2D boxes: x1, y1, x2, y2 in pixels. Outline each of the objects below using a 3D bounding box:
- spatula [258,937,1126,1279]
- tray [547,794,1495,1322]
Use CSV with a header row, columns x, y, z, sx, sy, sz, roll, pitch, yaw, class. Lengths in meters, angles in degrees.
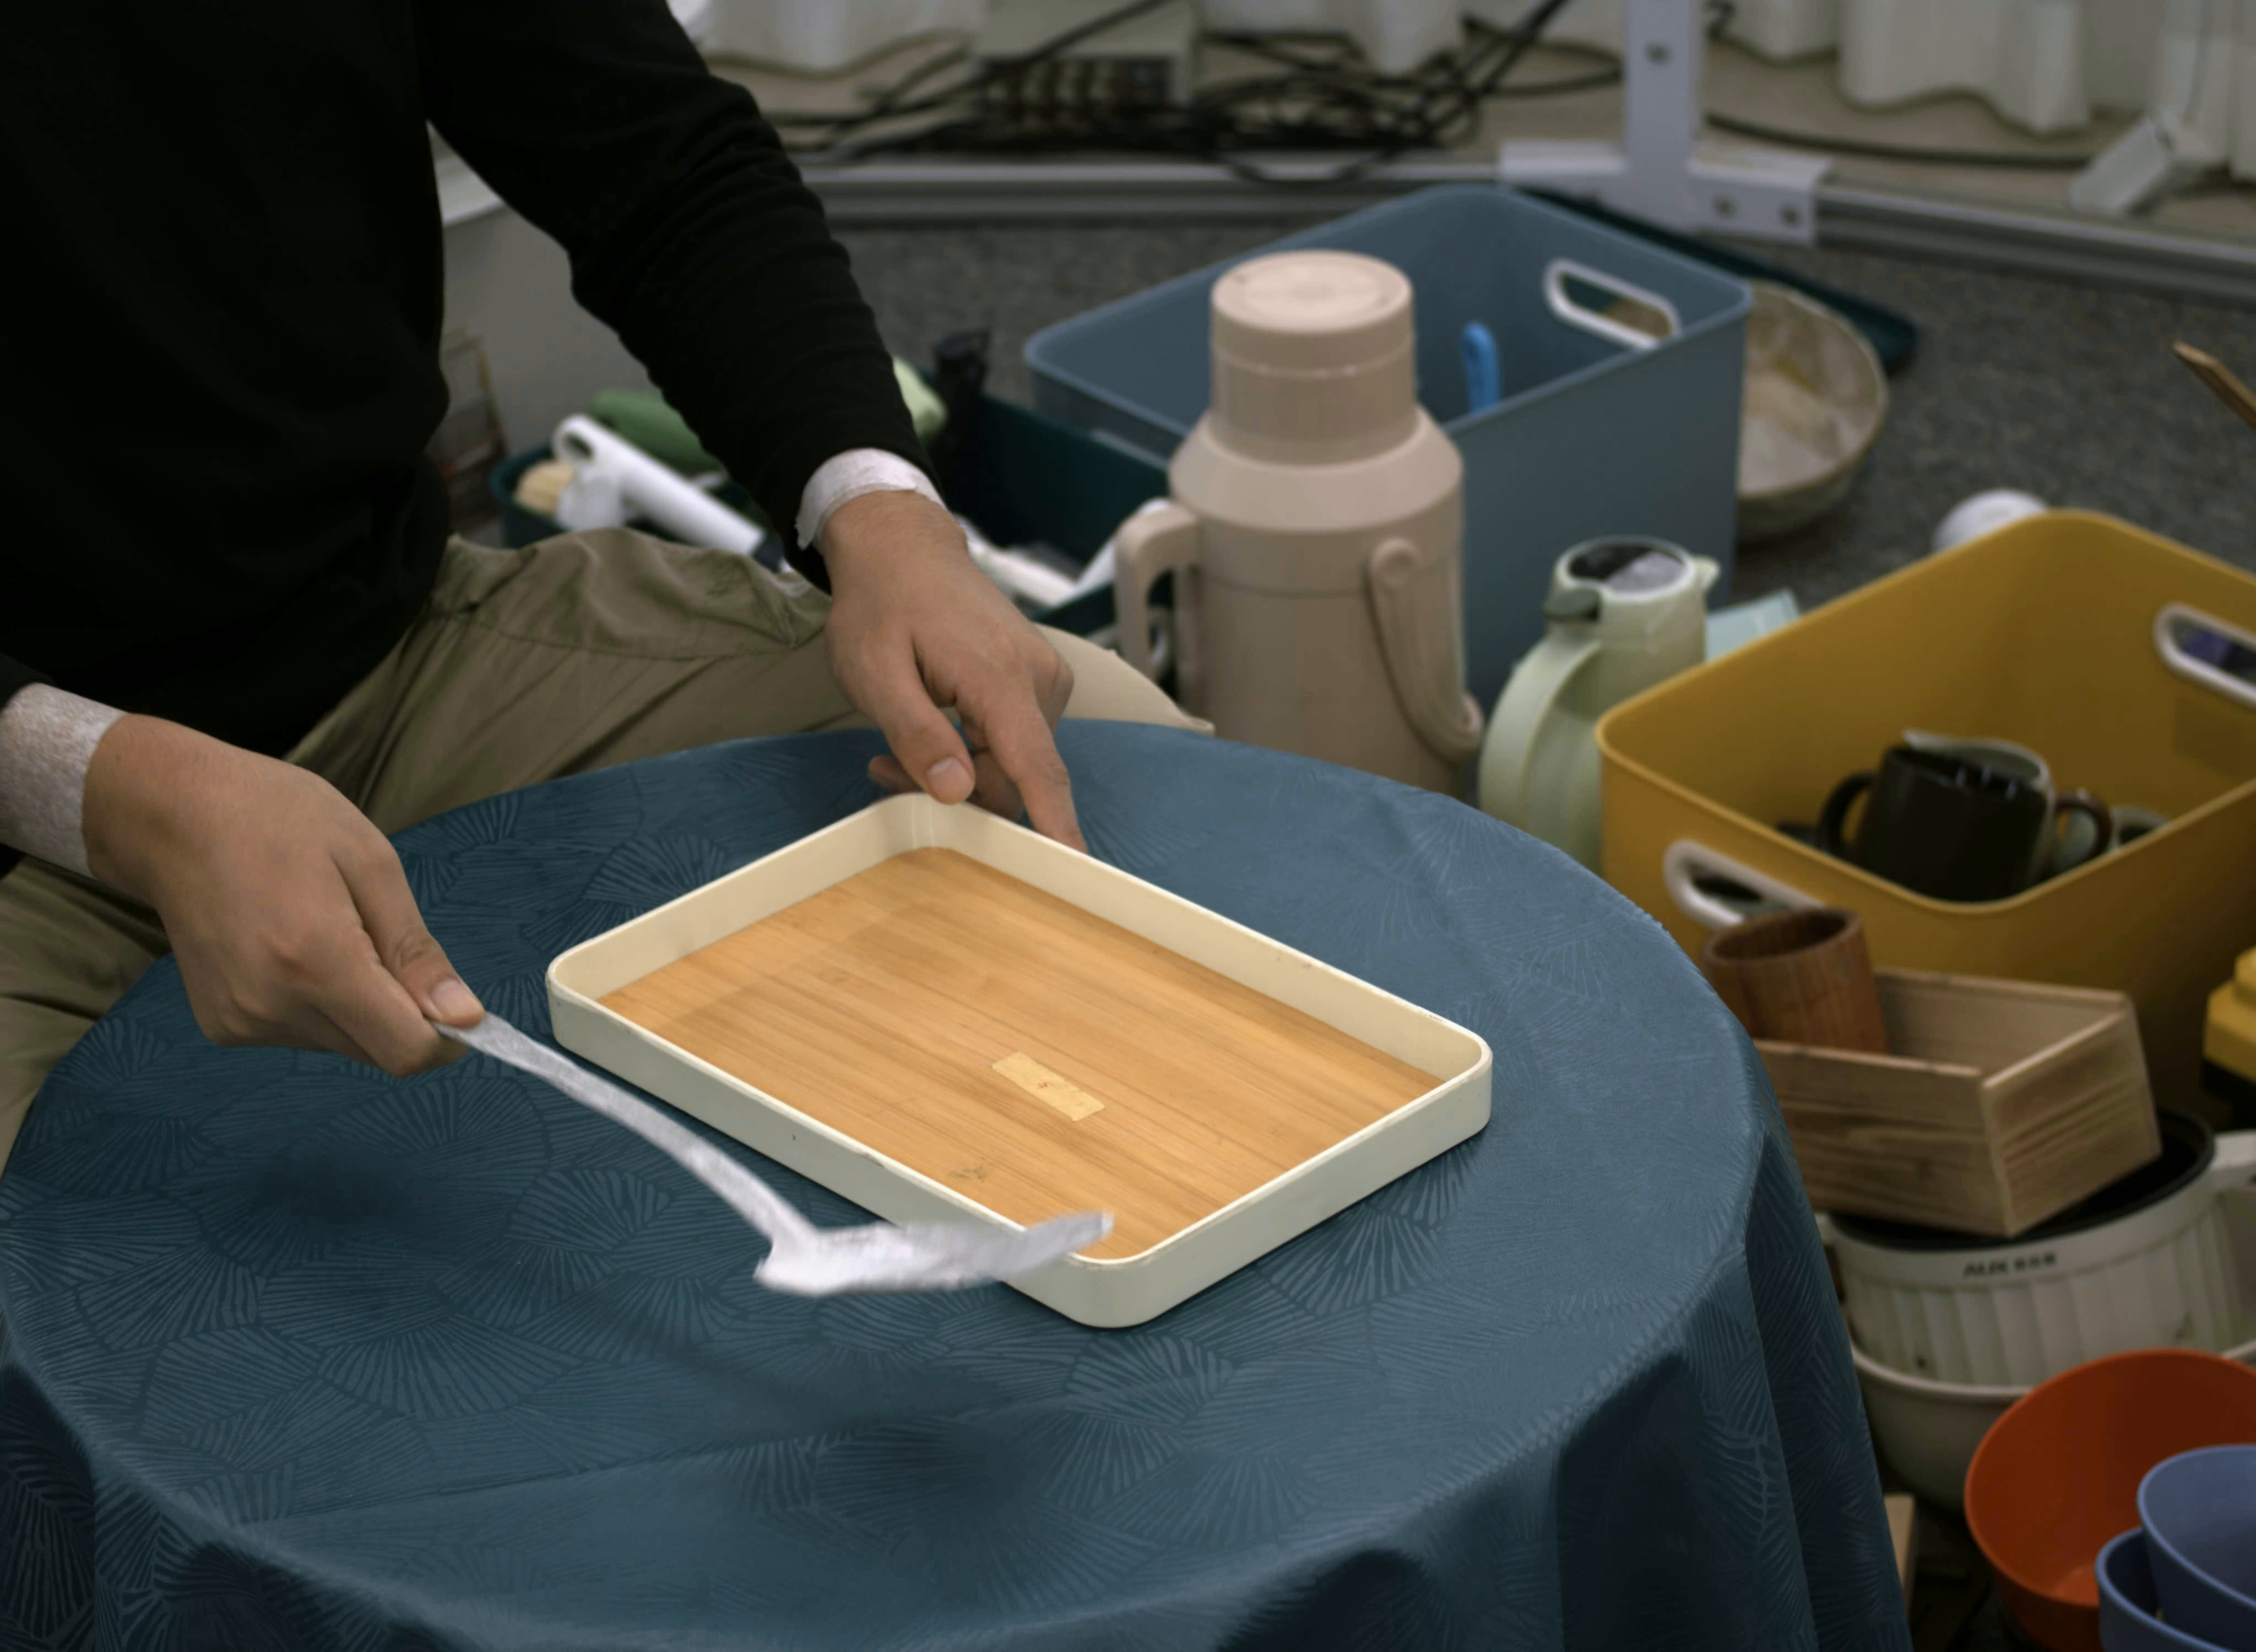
x,y,z,sx,sy,sz,roll,pitch,yaw,class
-0.159,0.082,1.780,0.364,0.044,0.099,24,24,35,spatula
-0.040,0.074,1.927,0.194,0.027,0.300,-25,35,-37,tray
